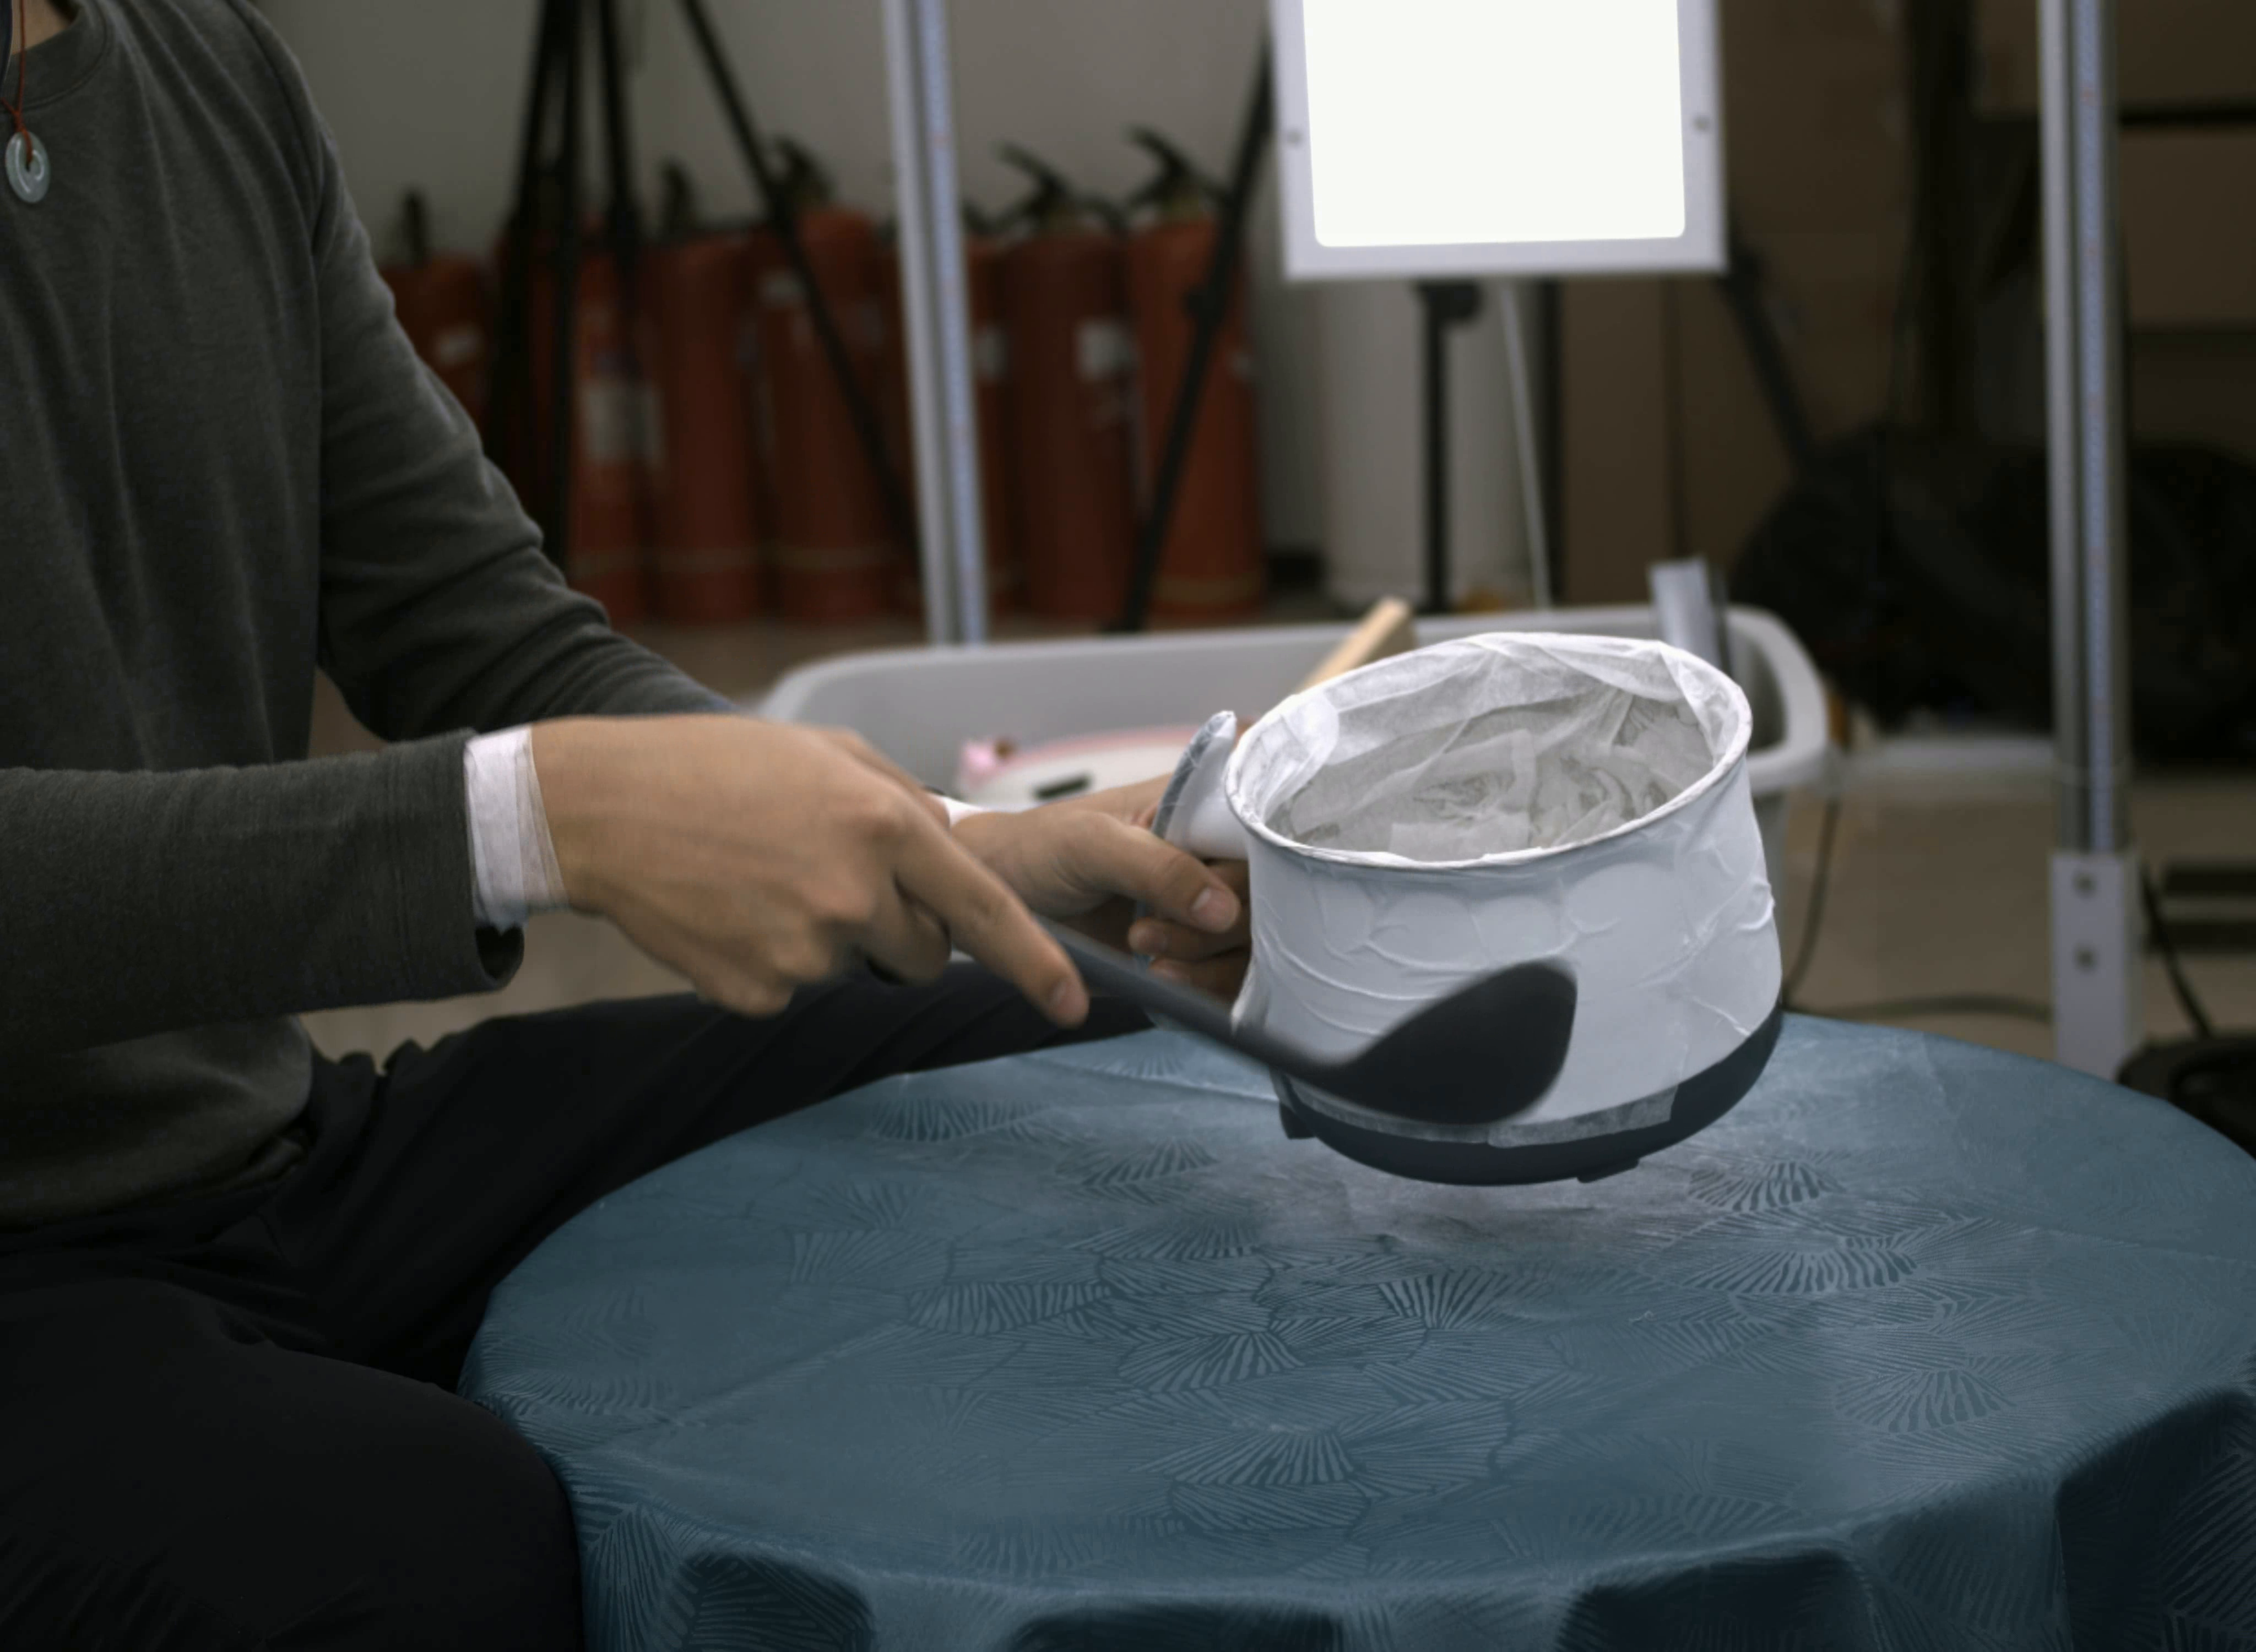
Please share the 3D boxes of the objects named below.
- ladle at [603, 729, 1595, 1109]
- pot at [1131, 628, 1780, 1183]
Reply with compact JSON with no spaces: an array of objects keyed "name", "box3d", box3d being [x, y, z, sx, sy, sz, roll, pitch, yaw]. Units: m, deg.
[{"name":"ladle","box3d":[-0.010,0.011,1.655,0.317,0.063,0.086,22,-14,16]},{"name":"pot","box3d":[0.104,0.026,1.858,0.238,0.137,0.175,5,28,28]}]
